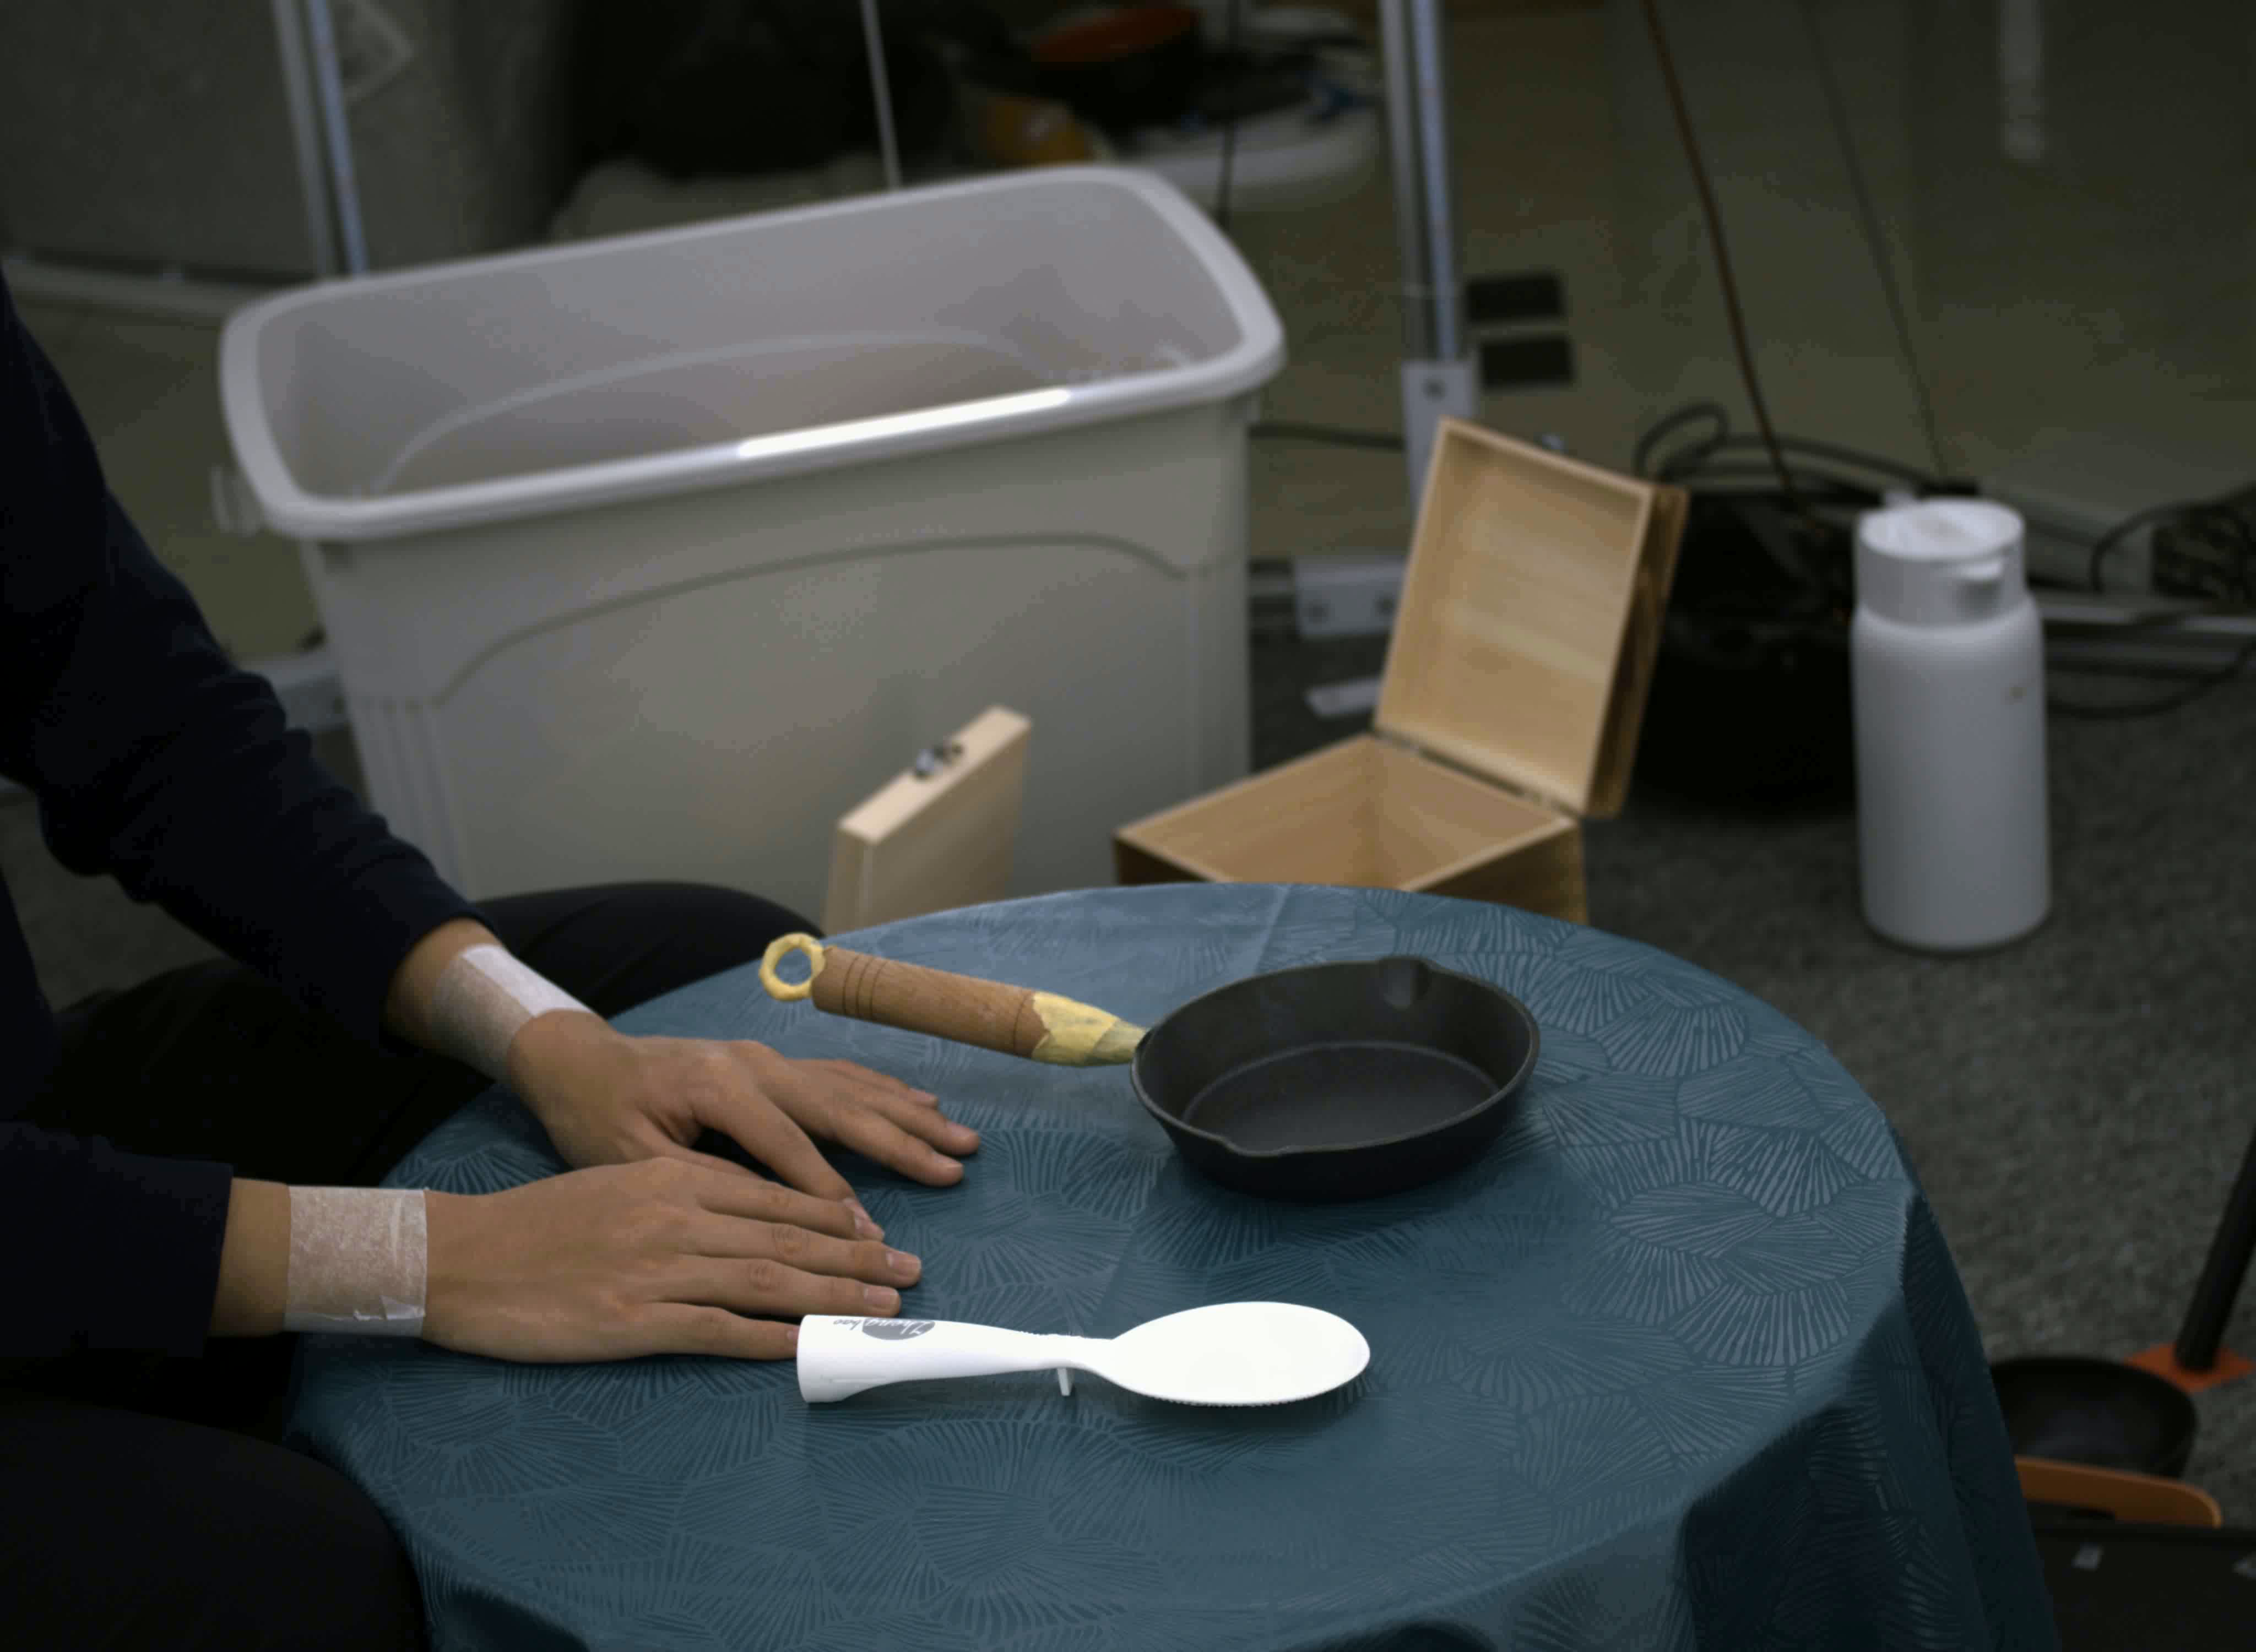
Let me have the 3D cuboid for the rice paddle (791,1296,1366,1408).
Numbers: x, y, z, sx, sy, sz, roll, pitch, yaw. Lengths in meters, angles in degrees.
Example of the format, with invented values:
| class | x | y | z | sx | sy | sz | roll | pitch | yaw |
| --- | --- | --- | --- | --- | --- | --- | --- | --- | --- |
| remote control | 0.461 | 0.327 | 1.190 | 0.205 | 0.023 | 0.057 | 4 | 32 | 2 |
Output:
| class | x | y | z | sx | sy | sz | roll | pitch | yaw |
| --- | --- | --- | --- | --- | --- | --- | --- | --- | --- |
| rice paddle | -0.017 | 0.187 | 2.014 | 0.205 | 0.030 | 0.068 | -3 | 27 | 10 |

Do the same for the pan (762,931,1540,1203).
| class | x | y | z | sx | sy | sz | roll | pitch | yaw |
| --- | --- | --- | --- | --- | --- | --- | --- | --- | --- |
| pan | 0.004 | 0.084 | 2.203 | 0.323 | 0.050 | 0.167 | 8 | 29 | 25 |
